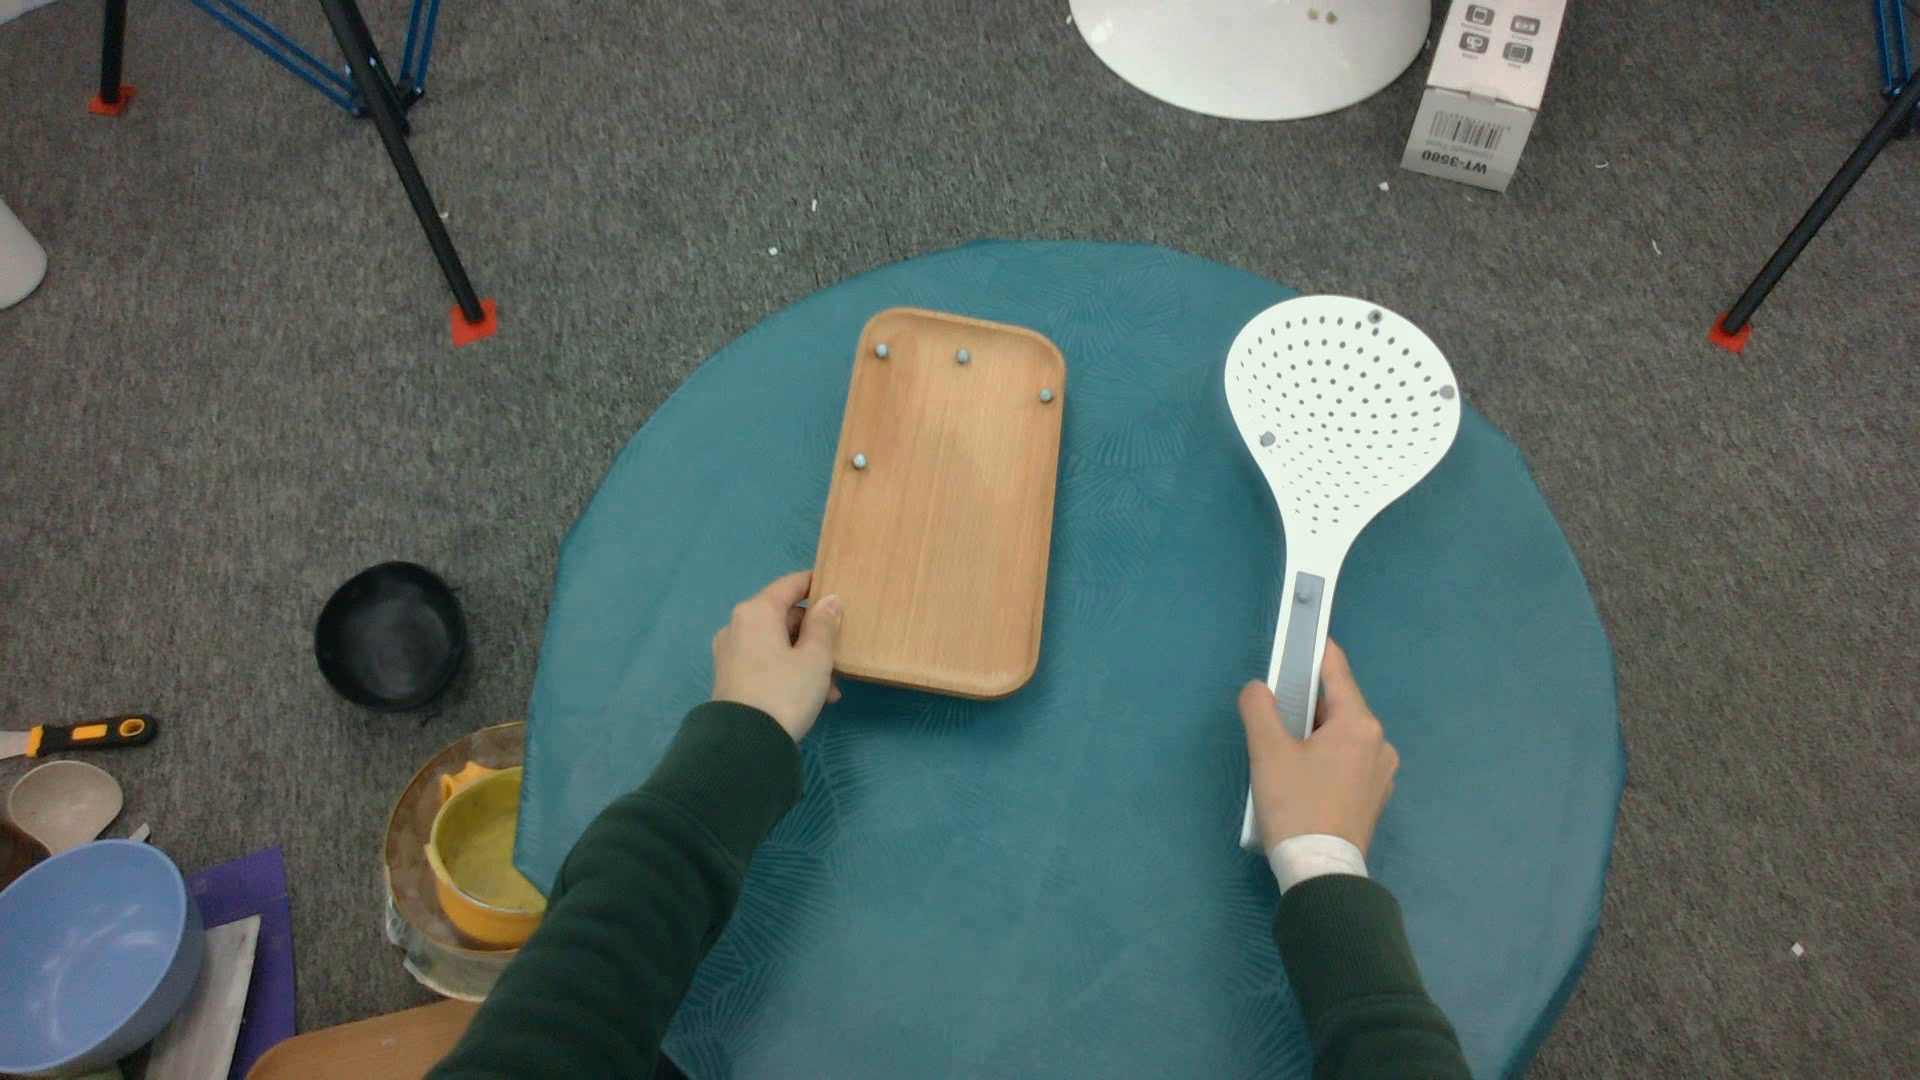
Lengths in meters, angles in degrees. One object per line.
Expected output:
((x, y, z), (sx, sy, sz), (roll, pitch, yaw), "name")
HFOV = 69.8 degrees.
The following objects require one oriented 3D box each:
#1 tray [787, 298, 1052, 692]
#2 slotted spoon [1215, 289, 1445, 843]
((-0.018, -0.032, 0.783), (0.130, 0.023, 0.252), (9, 59, -2), "tray")
((0.189, 0.001, 0.763), (0.136, 0.045, 0.351), (14, 57, 6), "slotted spoon")
